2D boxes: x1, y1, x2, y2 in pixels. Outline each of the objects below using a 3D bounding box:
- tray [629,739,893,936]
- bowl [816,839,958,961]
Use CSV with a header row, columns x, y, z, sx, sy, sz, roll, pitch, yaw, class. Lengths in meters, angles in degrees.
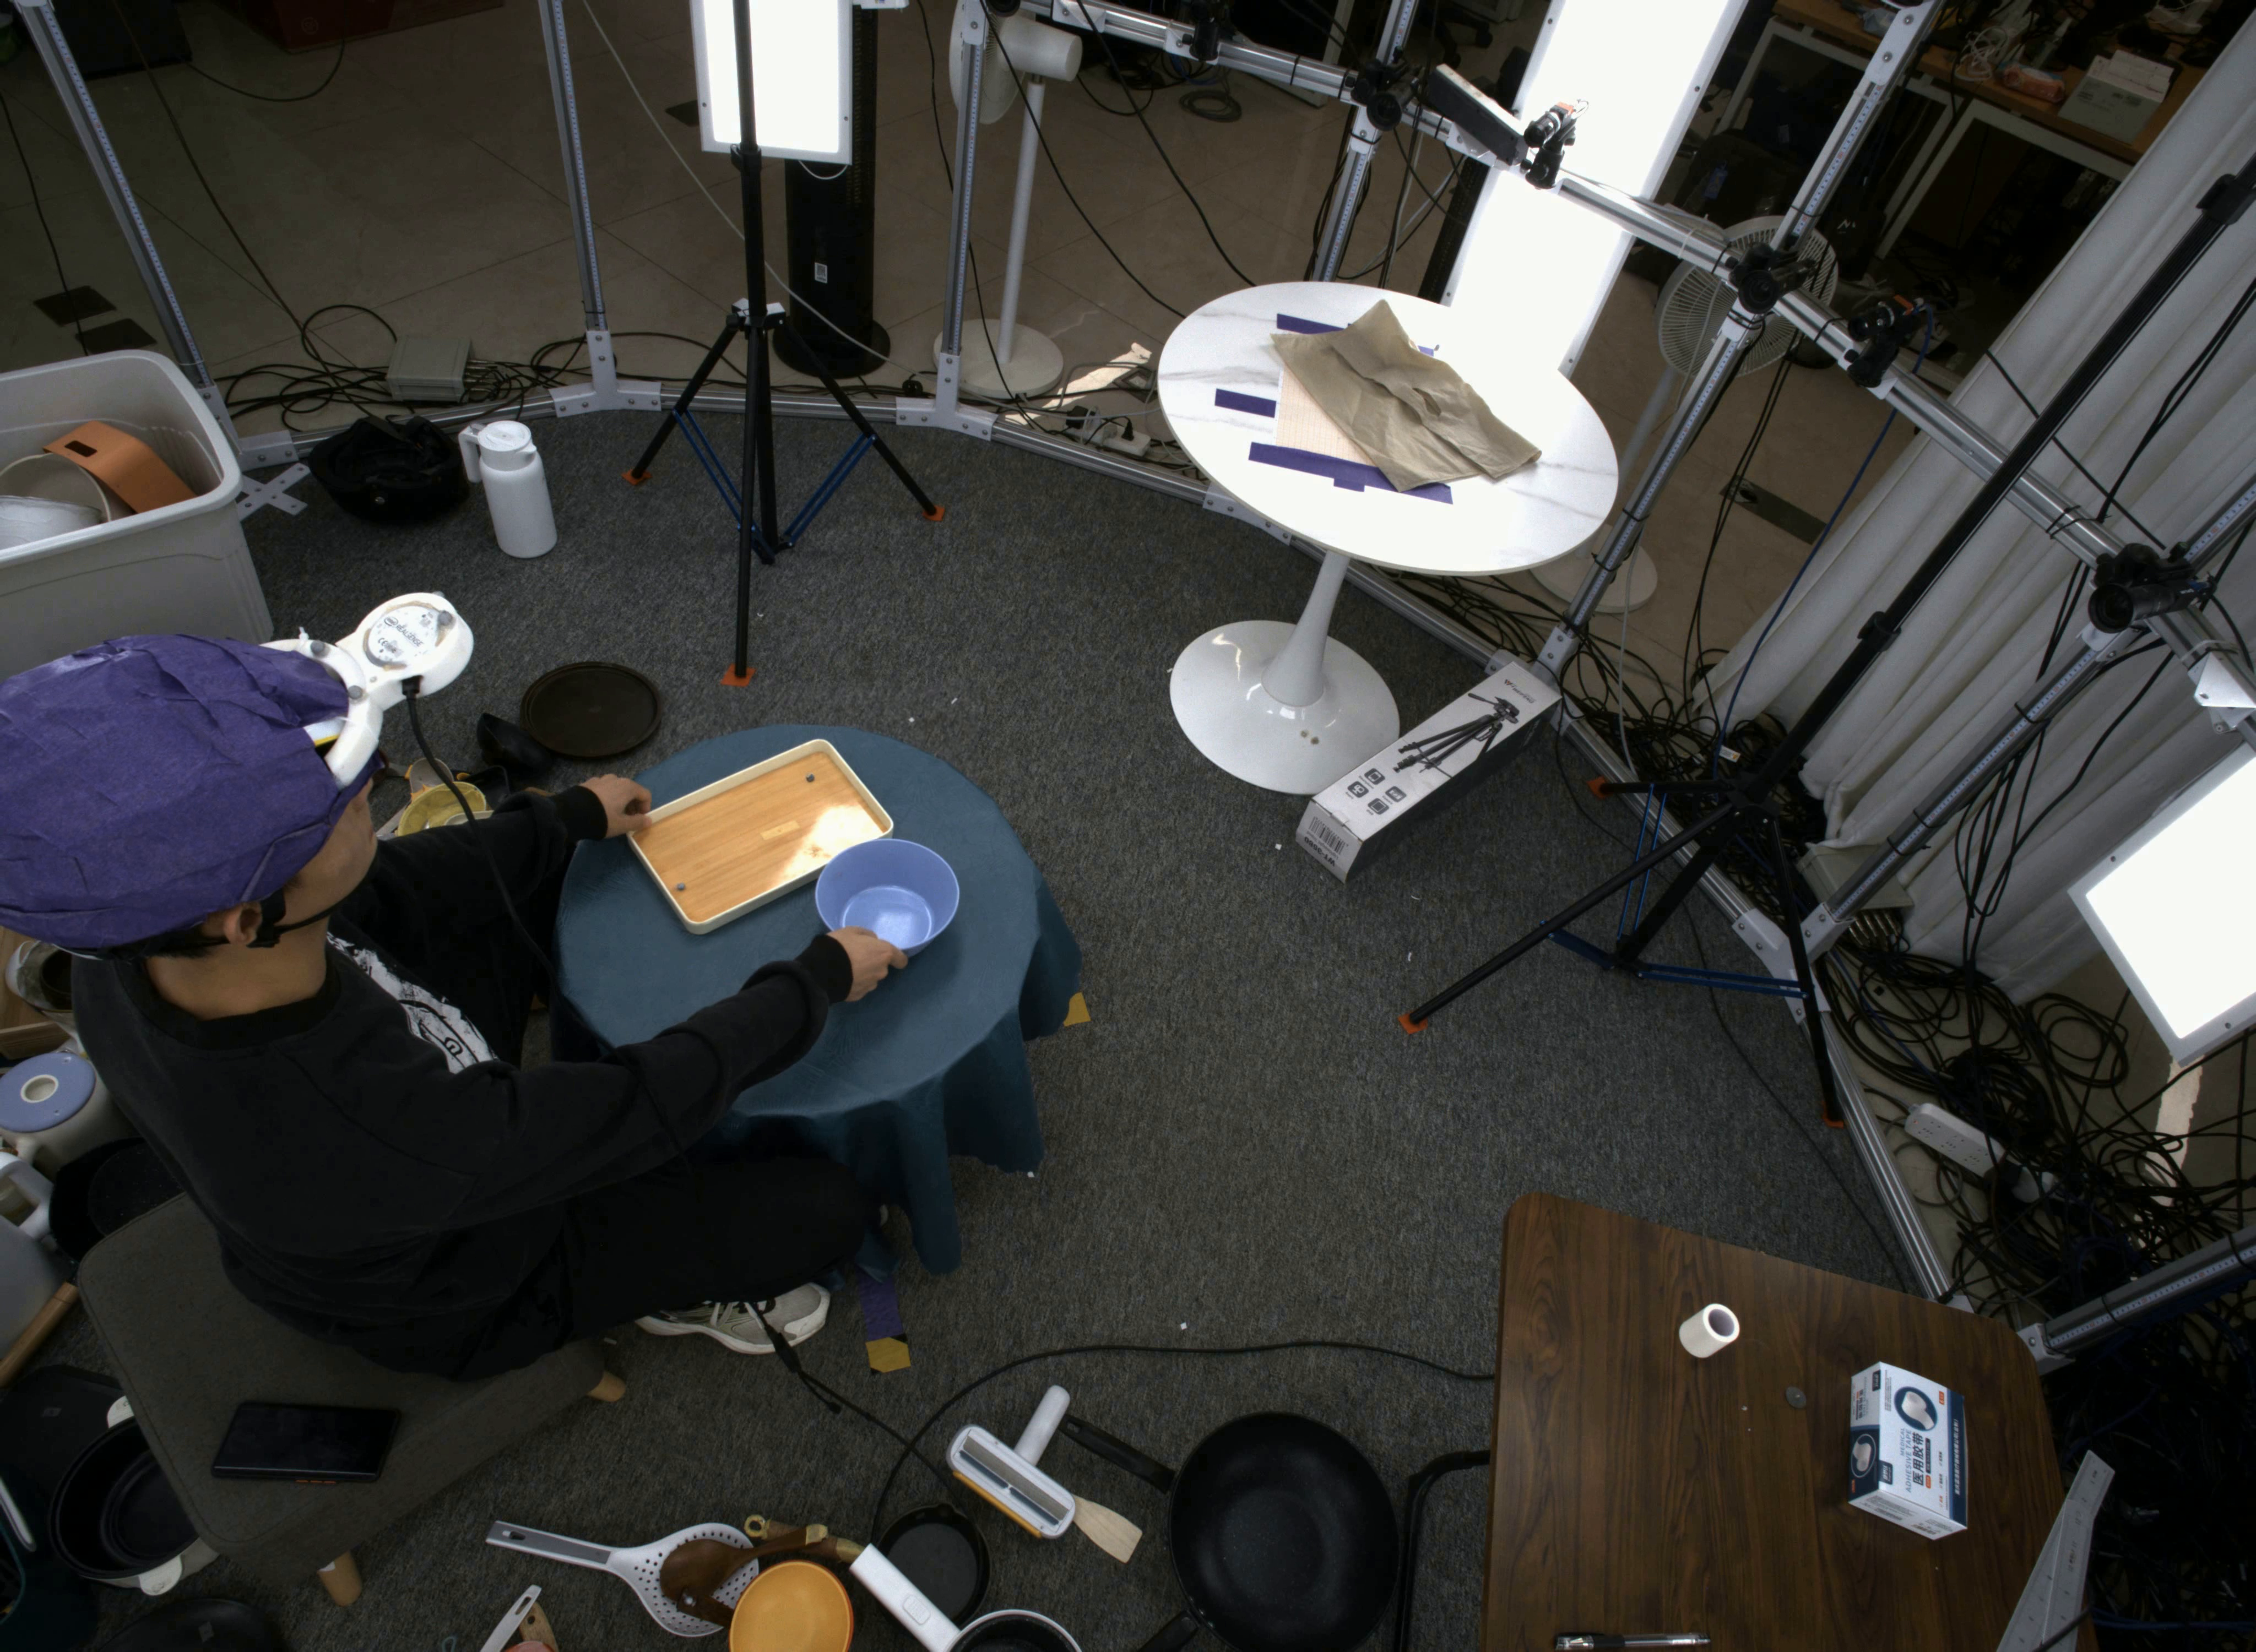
x,y,z,sx,sy,sz,roll,pitch,yaw,class
-0.478,0.007,1.693,0.301,0.028,0.187,-29,66,-31,tray
-0.302,0.102,1.635,0.175,0.072,0.172,7,48,-7,bowl
